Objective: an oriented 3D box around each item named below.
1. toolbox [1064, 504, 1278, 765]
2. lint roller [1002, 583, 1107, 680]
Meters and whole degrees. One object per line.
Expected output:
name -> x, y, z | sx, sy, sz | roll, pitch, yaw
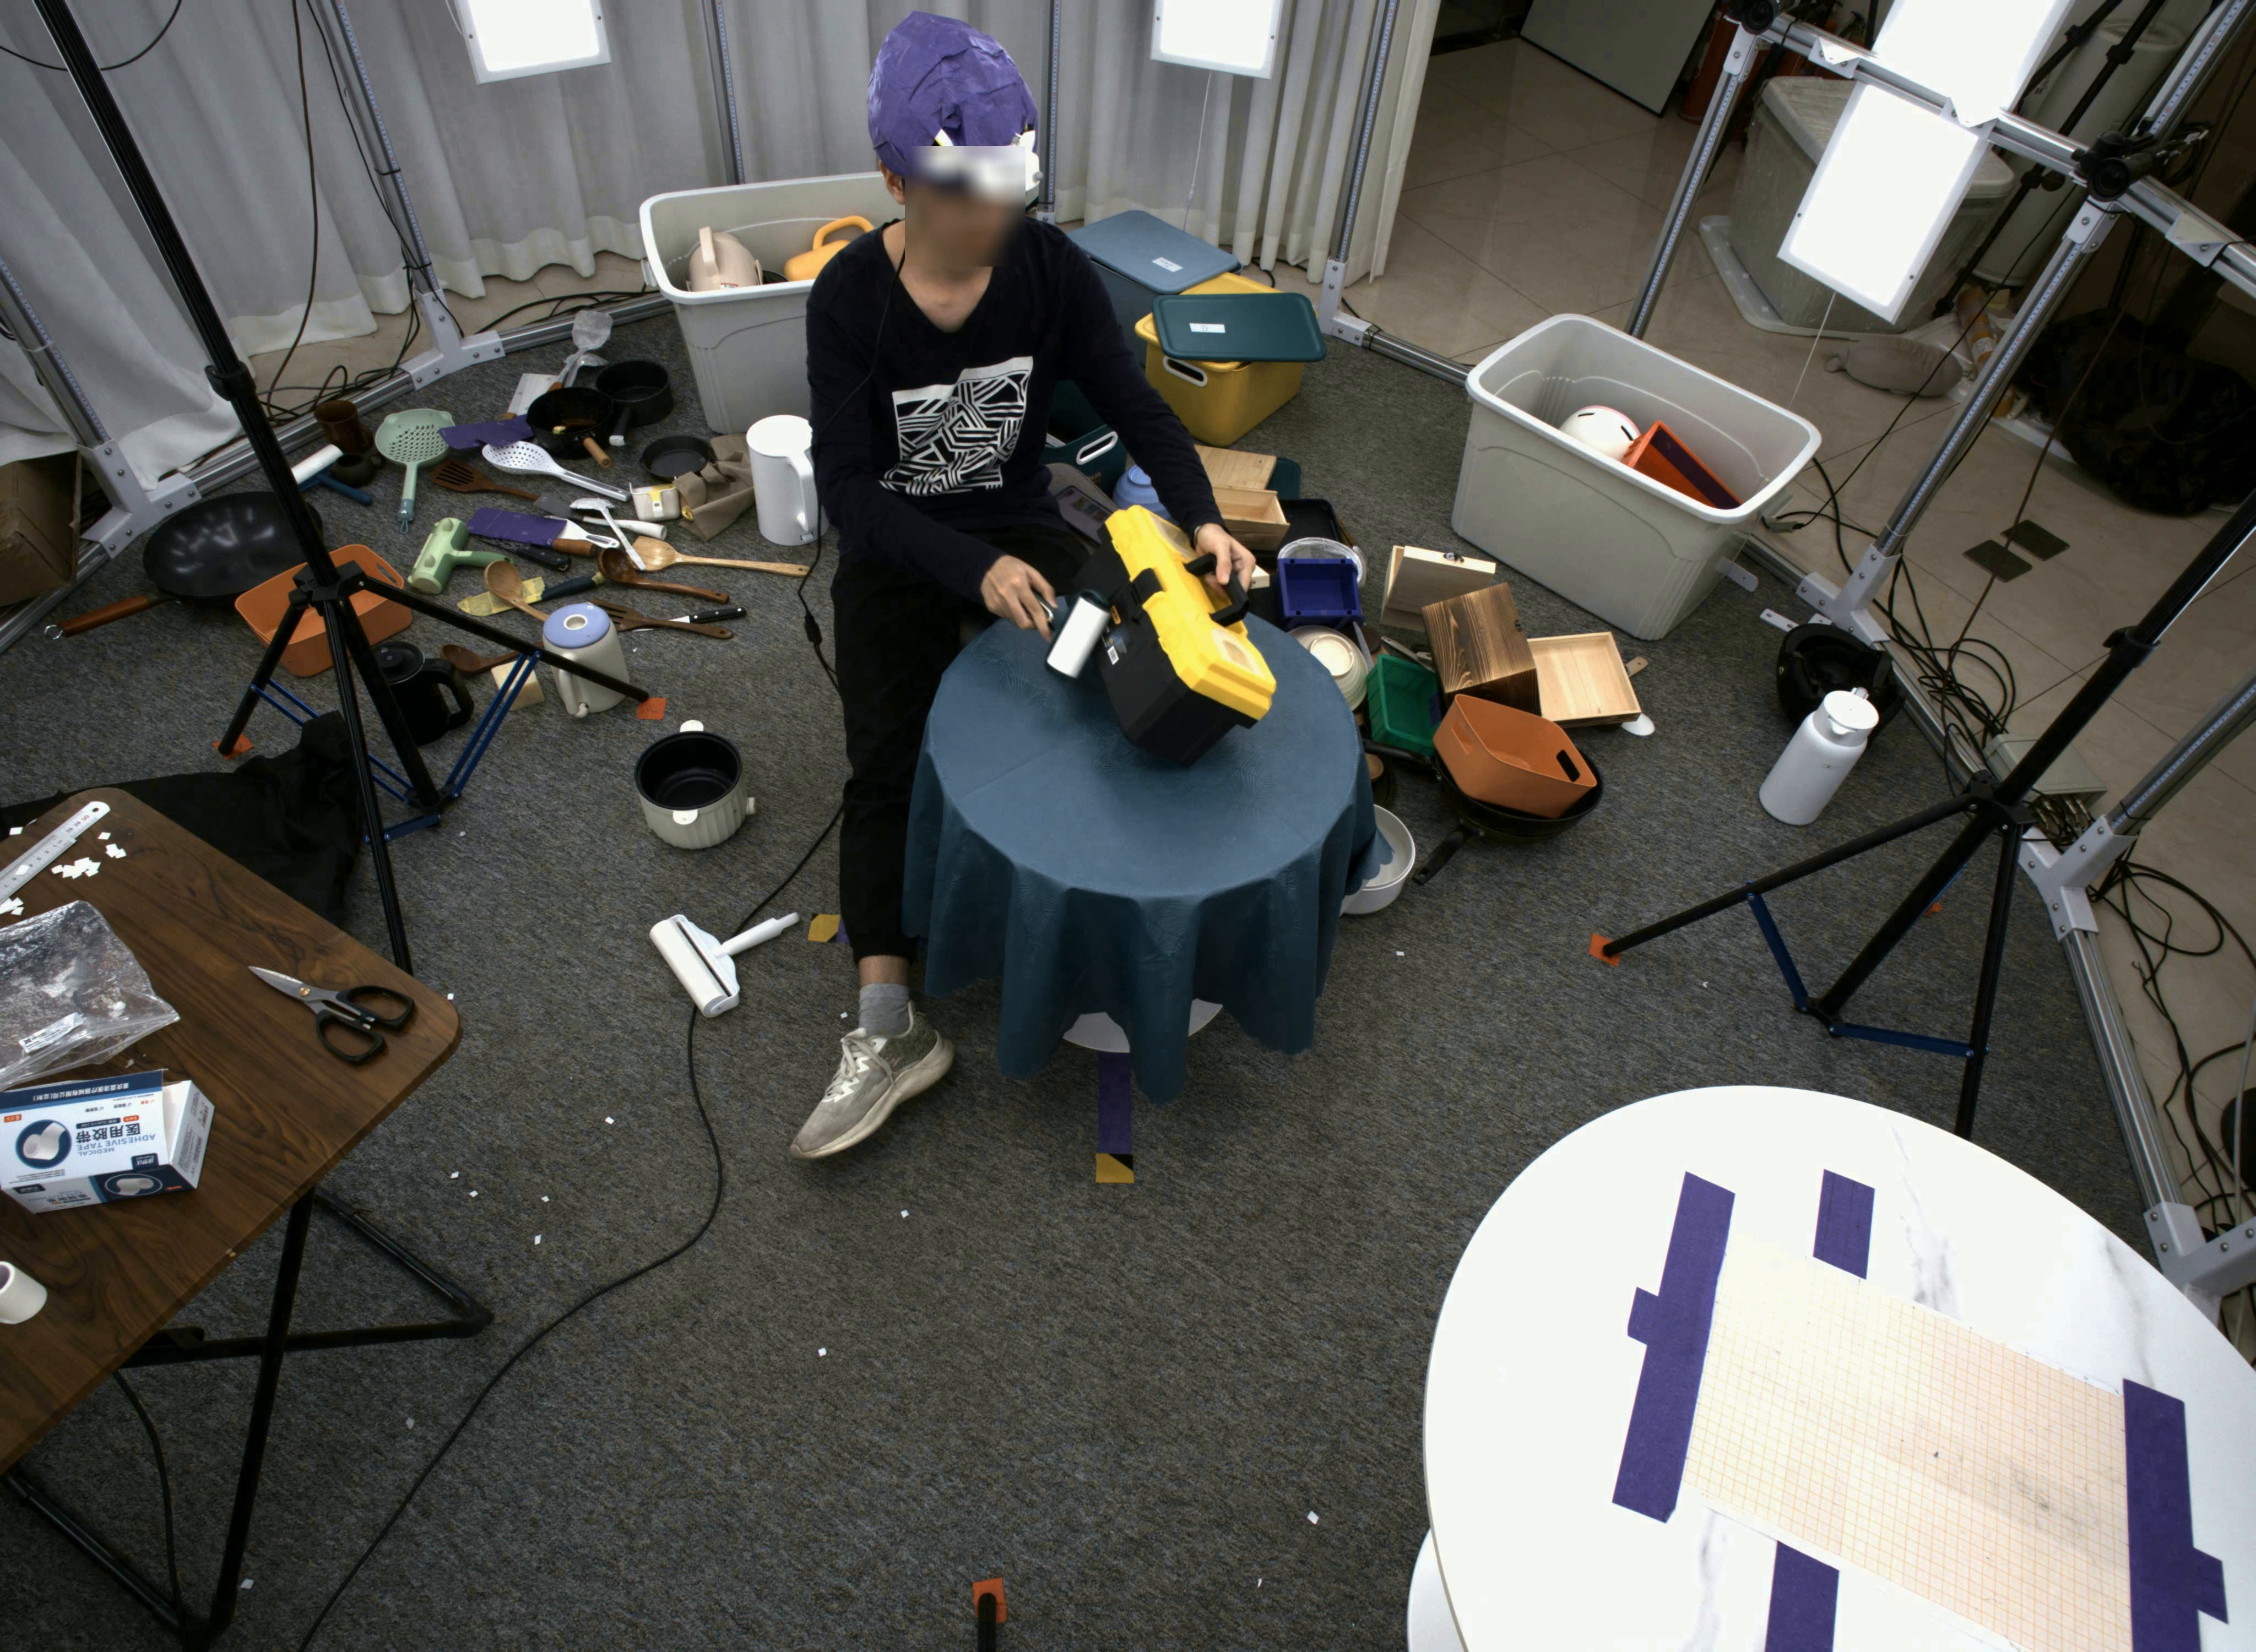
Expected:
toolbox -> 0.048, -0.263, 1.761 | 0.179, 0.171, 0.360 | 20, 36, -41
lint roller -> -0.121, -0.296, 1.790 | 0.182, 0.133, 0.048 | 34, 13, 27
